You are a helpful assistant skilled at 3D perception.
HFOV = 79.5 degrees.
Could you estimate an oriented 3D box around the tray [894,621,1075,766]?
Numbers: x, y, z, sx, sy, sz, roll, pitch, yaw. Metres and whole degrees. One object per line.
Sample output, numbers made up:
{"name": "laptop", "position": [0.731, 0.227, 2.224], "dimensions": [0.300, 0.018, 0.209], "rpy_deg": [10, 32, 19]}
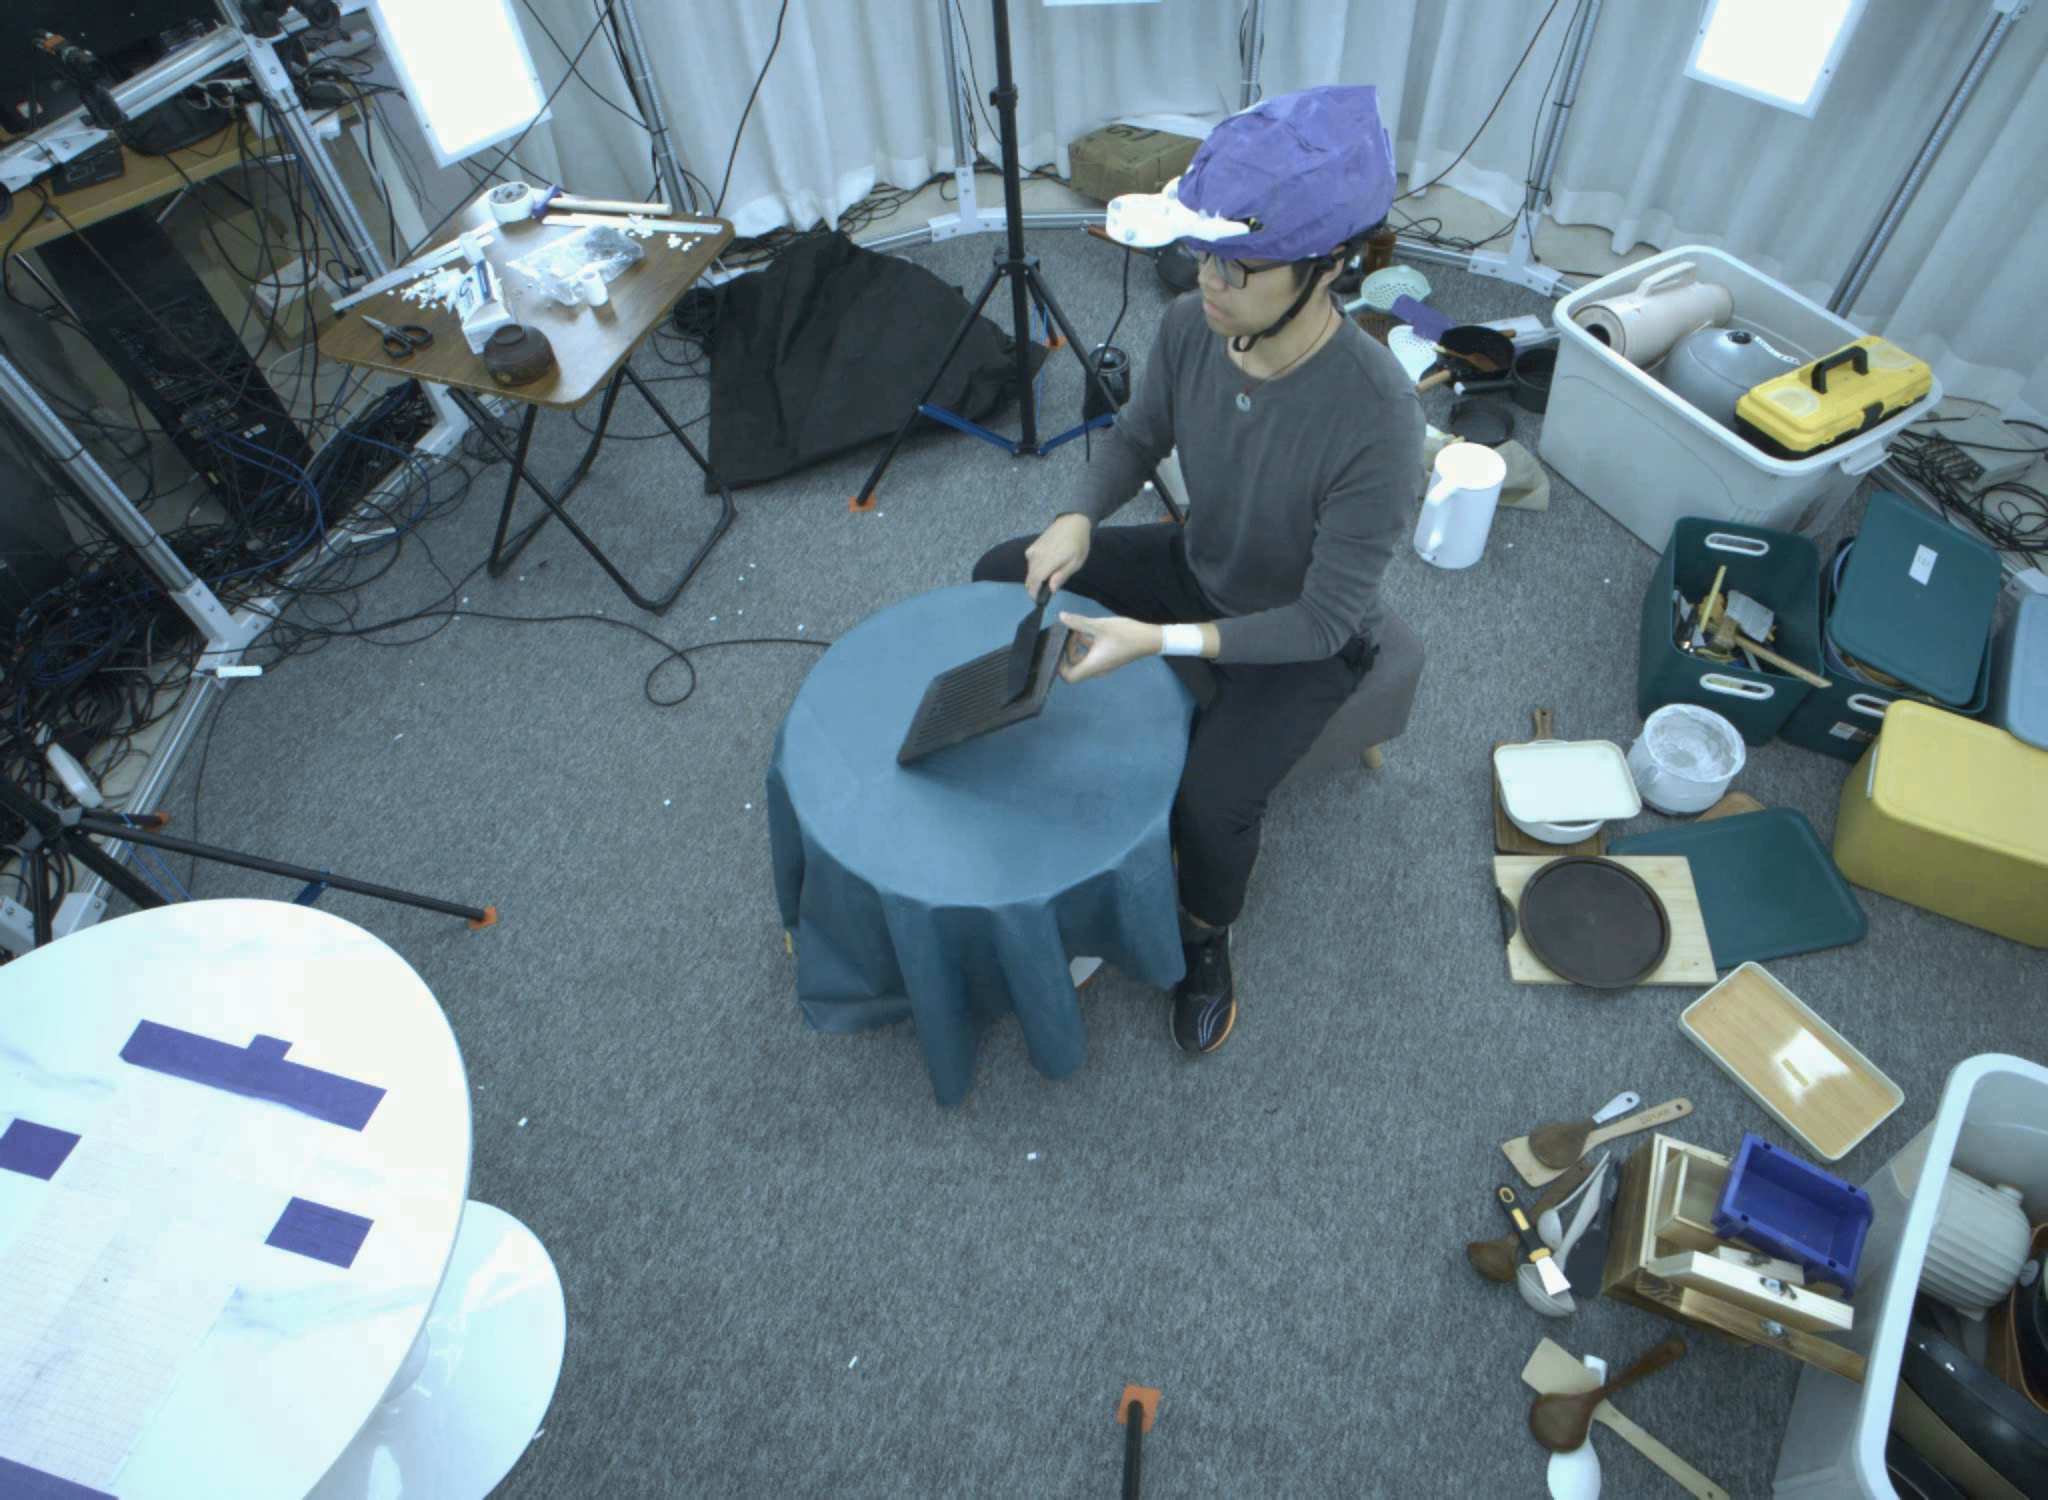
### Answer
{"name": "tray", "position": [-0.057, -0.075, 1.726], "dimensions": [0.300, 0.019, 0.169], "rpy_deg": [-18, 40, 42]}

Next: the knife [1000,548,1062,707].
{"name": "knife", "position": [0.011, -0.180, 1.727], "dimensions": [0.021, 0.080, 0.301], "rpy_deg": [35, 49, -24]}
